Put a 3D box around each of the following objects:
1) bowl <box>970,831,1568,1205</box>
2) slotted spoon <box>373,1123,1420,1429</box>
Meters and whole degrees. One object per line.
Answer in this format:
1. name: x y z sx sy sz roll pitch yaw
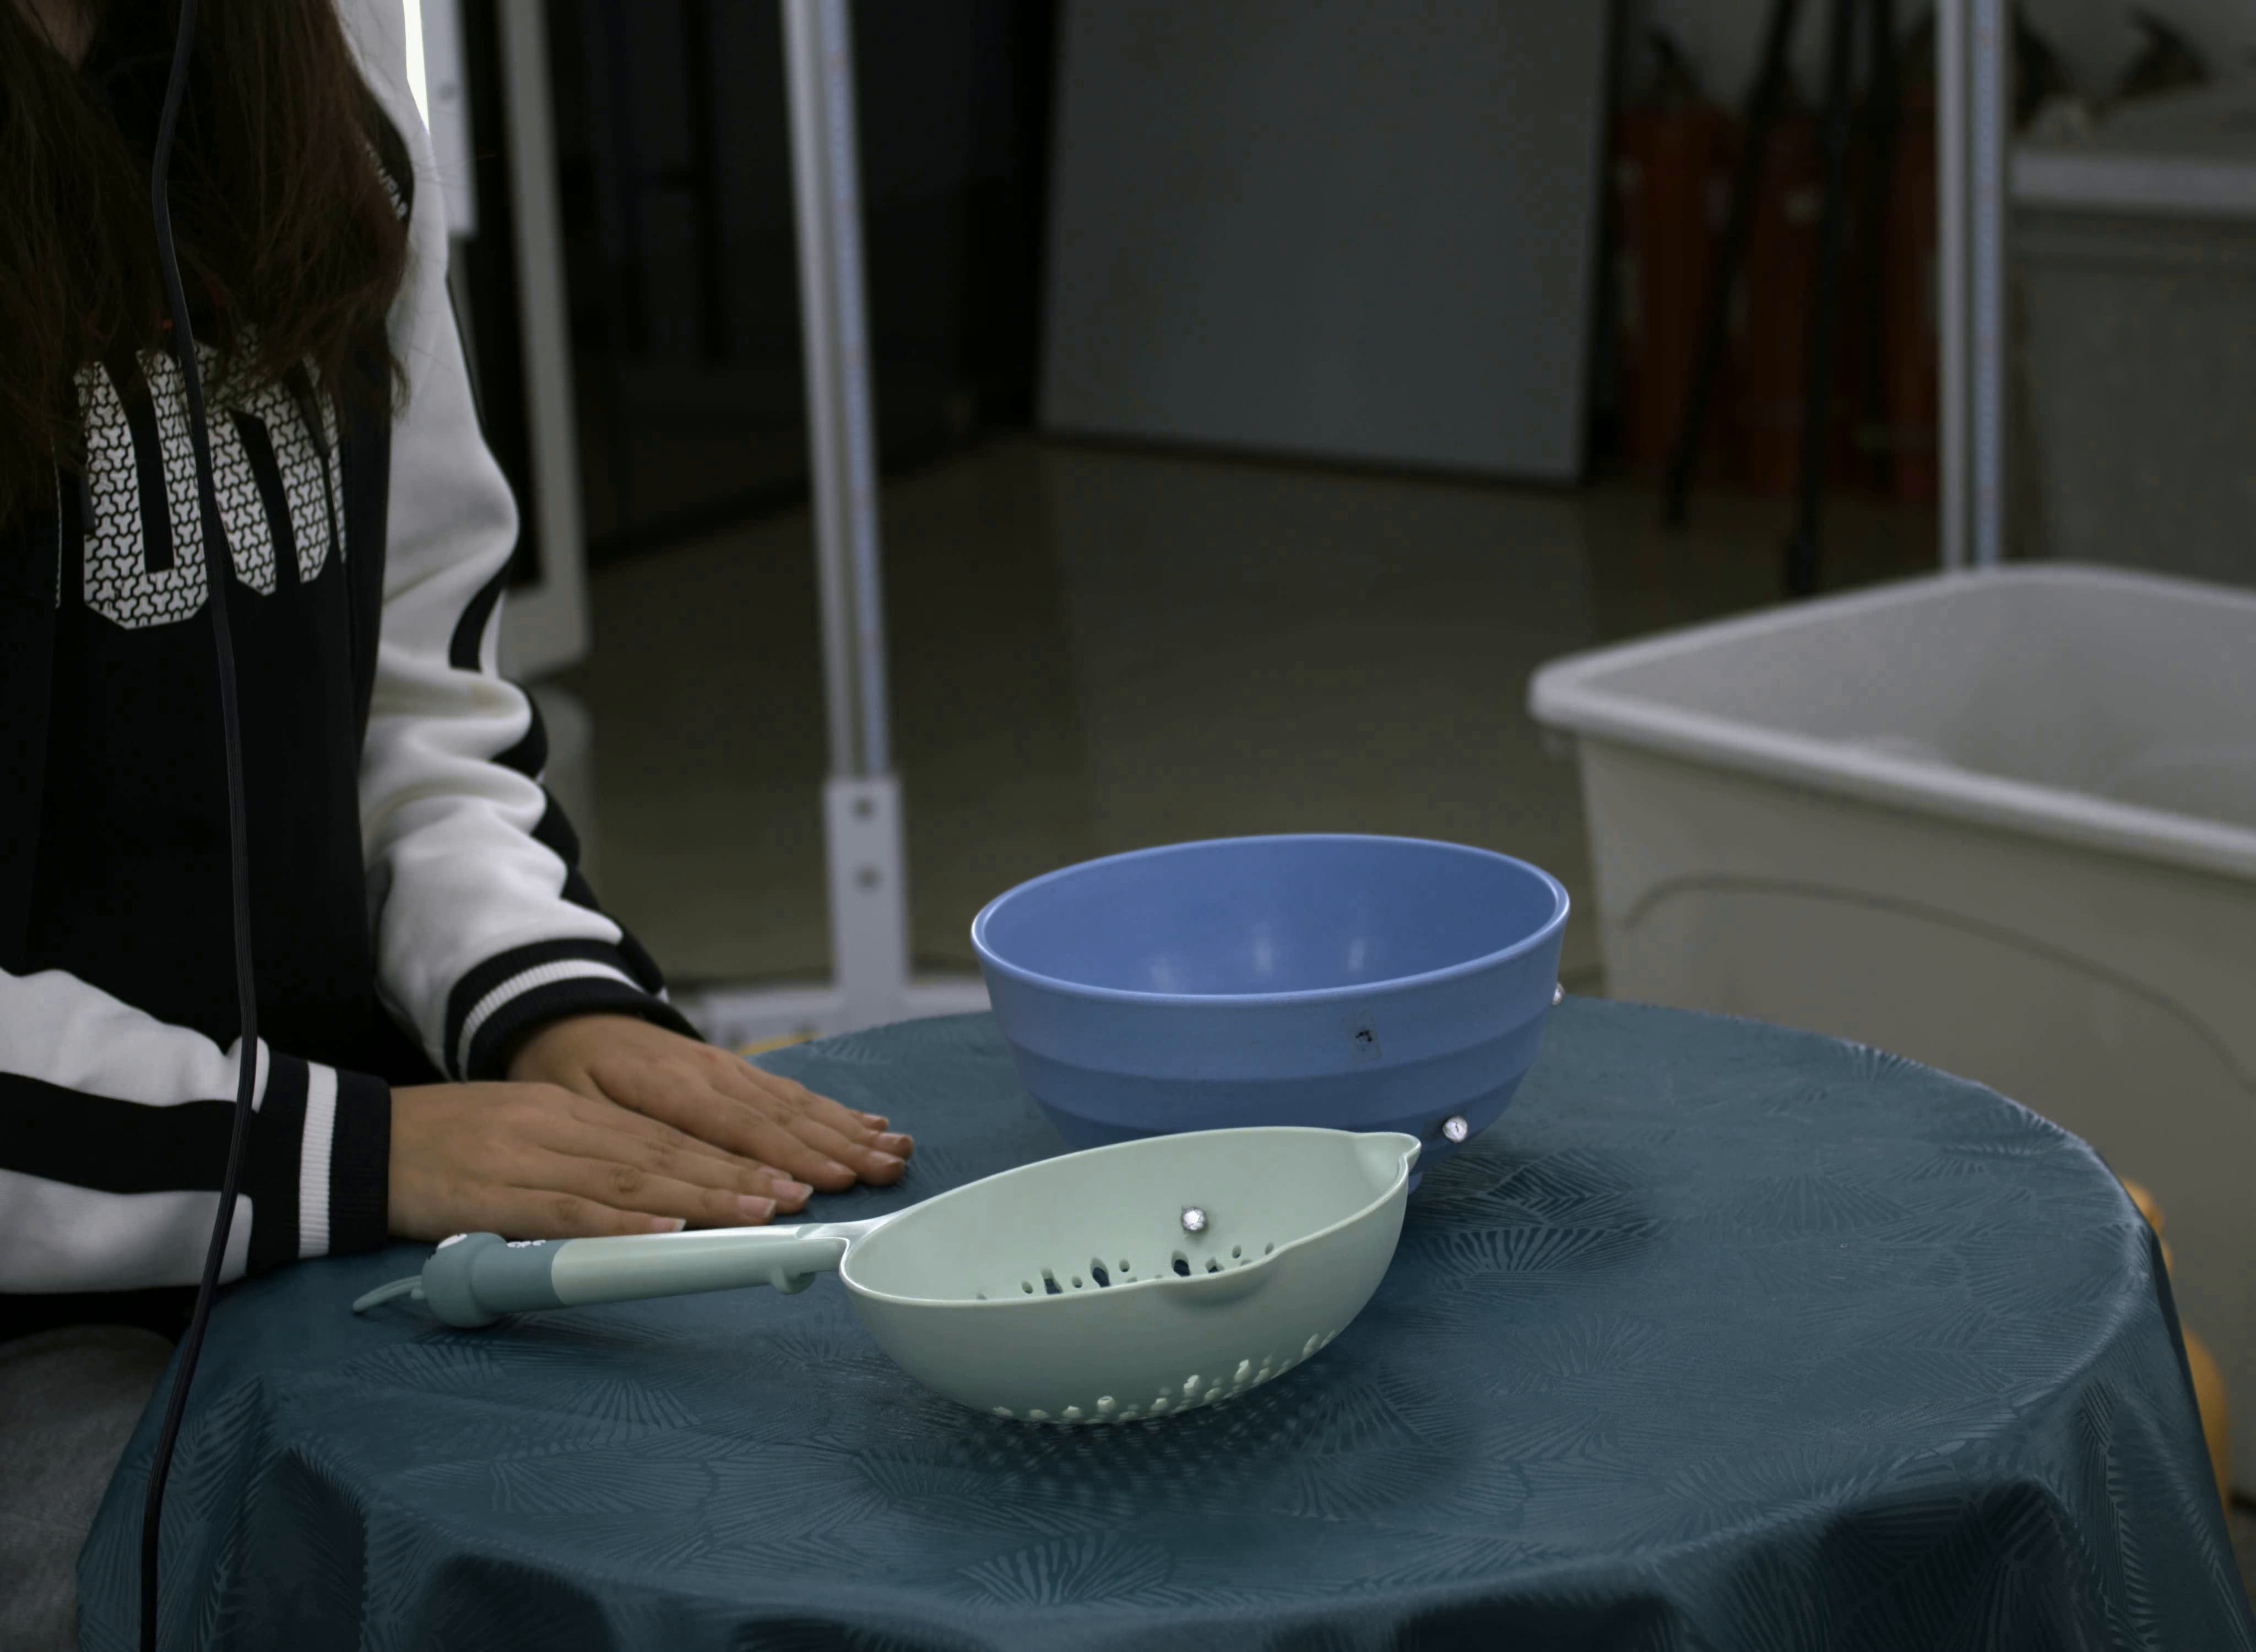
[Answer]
1. bowl: 0.049 0.073 1.755 0.194 0.096 0.197 -5 14 0
2. slotted spoon: -0.082 0.135 1.617 0.360 0.076 0.167 1 13 29
